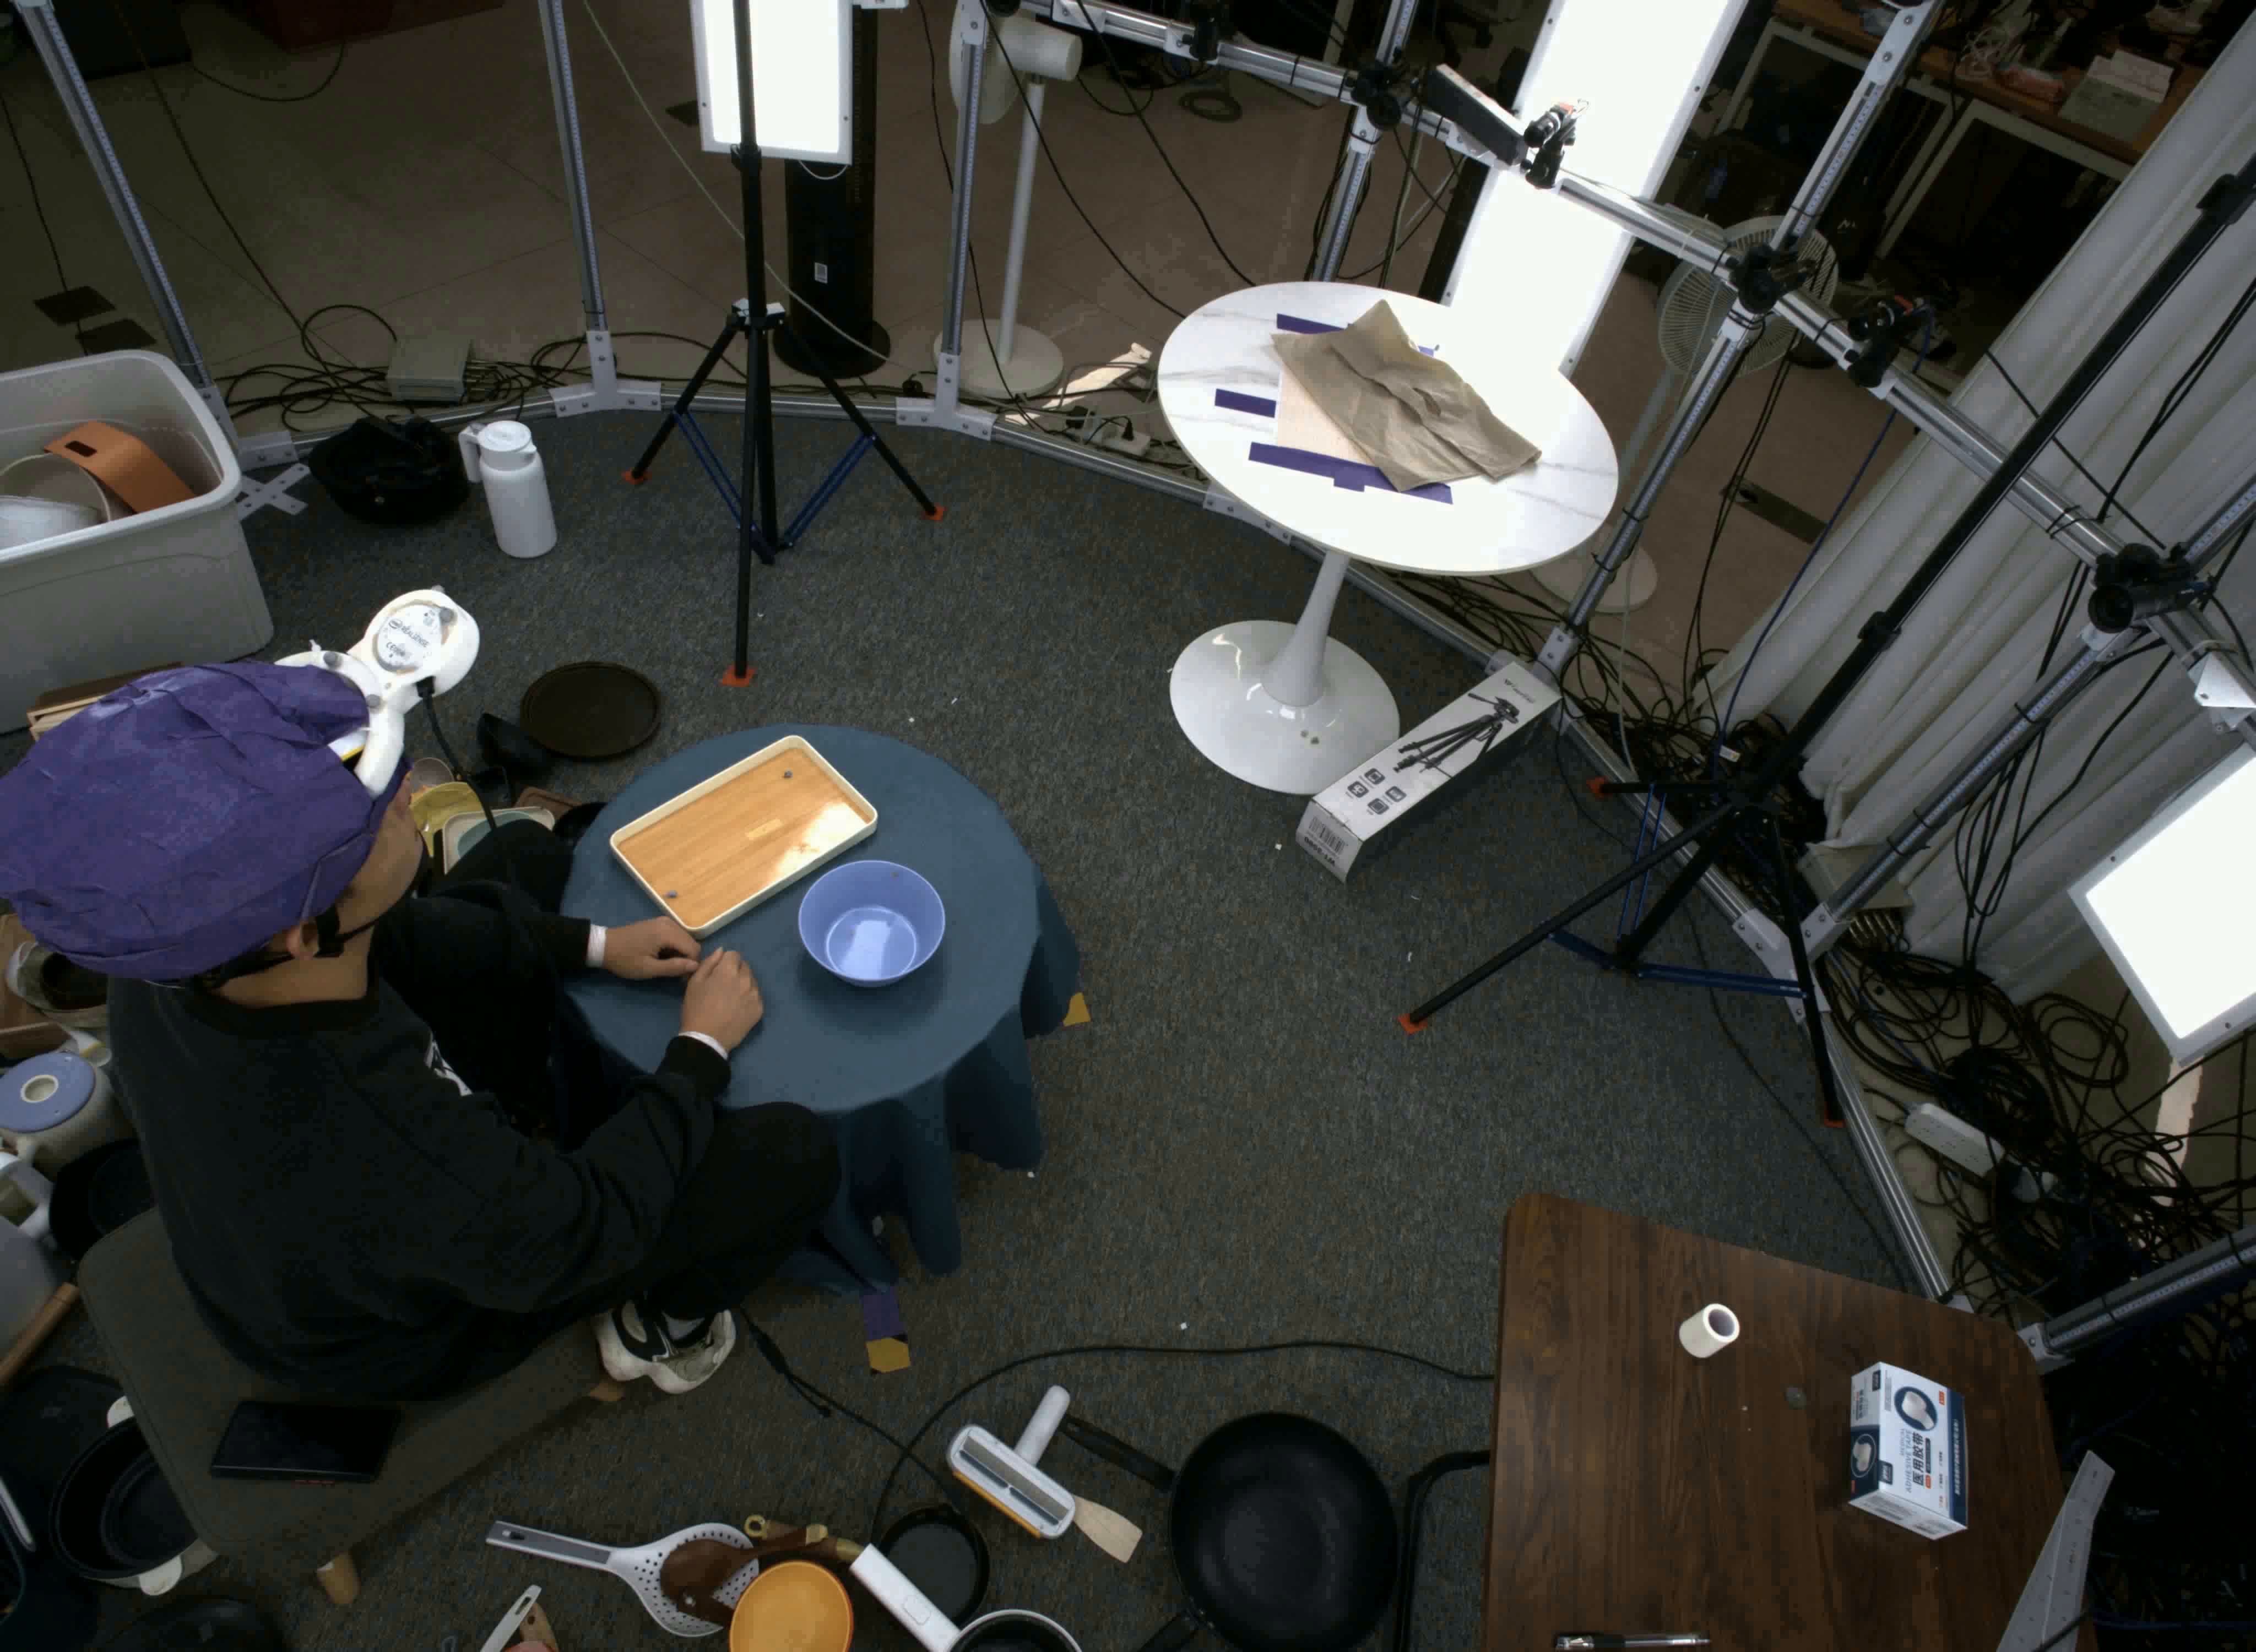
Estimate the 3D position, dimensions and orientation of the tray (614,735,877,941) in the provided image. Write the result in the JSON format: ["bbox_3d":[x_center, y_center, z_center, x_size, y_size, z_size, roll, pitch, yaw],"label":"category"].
[{"bbox_3d":[-0.497,0.008,1.687,0.187,0.028,0.301,42,55,18],"label":"tray"}]

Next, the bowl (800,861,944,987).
[{"bbox_3d":[-0.318,0.131,1.613,0.176,0.072,0.173,8,51,-9],"label":"bowl"}]
